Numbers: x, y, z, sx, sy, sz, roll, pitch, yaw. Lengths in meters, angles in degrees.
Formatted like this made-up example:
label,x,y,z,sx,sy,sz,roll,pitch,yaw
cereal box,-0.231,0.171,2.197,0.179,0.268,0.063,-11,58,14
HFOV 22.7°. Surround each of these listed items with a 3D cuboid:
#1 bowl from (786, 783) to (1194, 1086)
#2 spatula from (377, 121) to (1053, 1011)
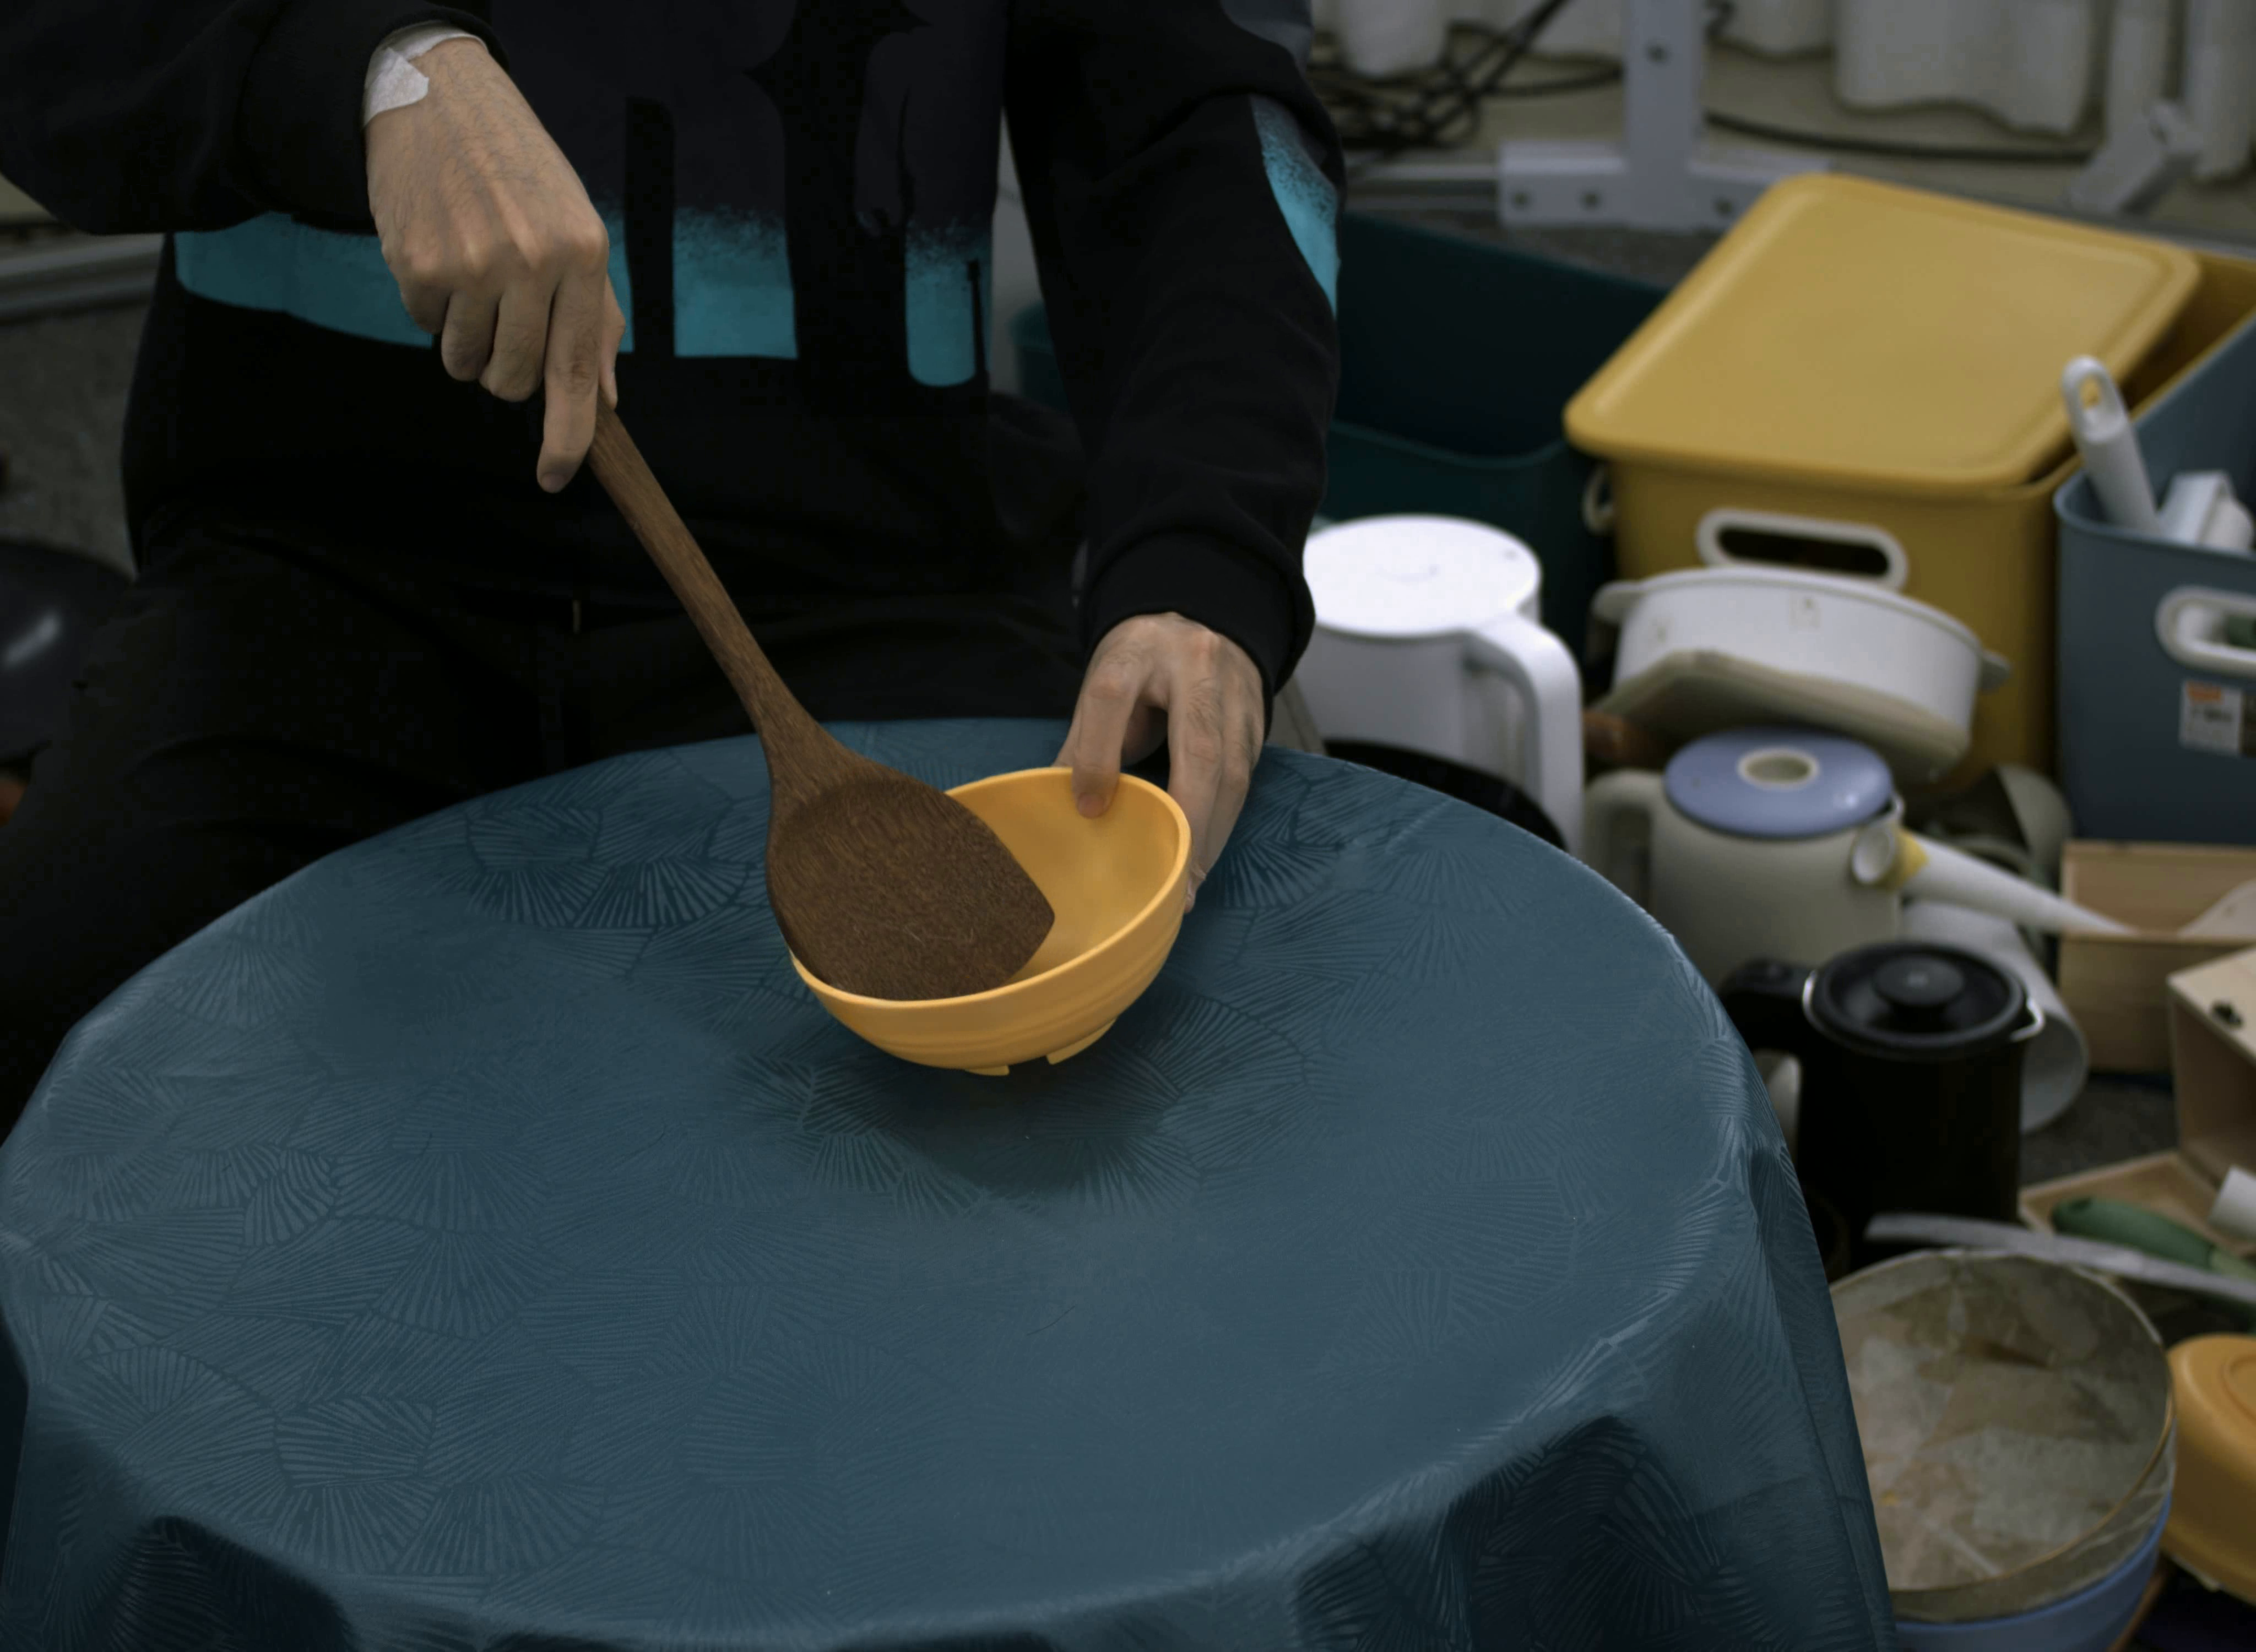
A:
label,x,y,z,sx,sy,sz,roll,pitch,yaw
bowl,-0.041,0.047,1.937,0.144,0.059,0.147,-12,27,7
spatula,-0.158,-0.095,1.968,0.097,0.015,0.388,-24,74,-35
